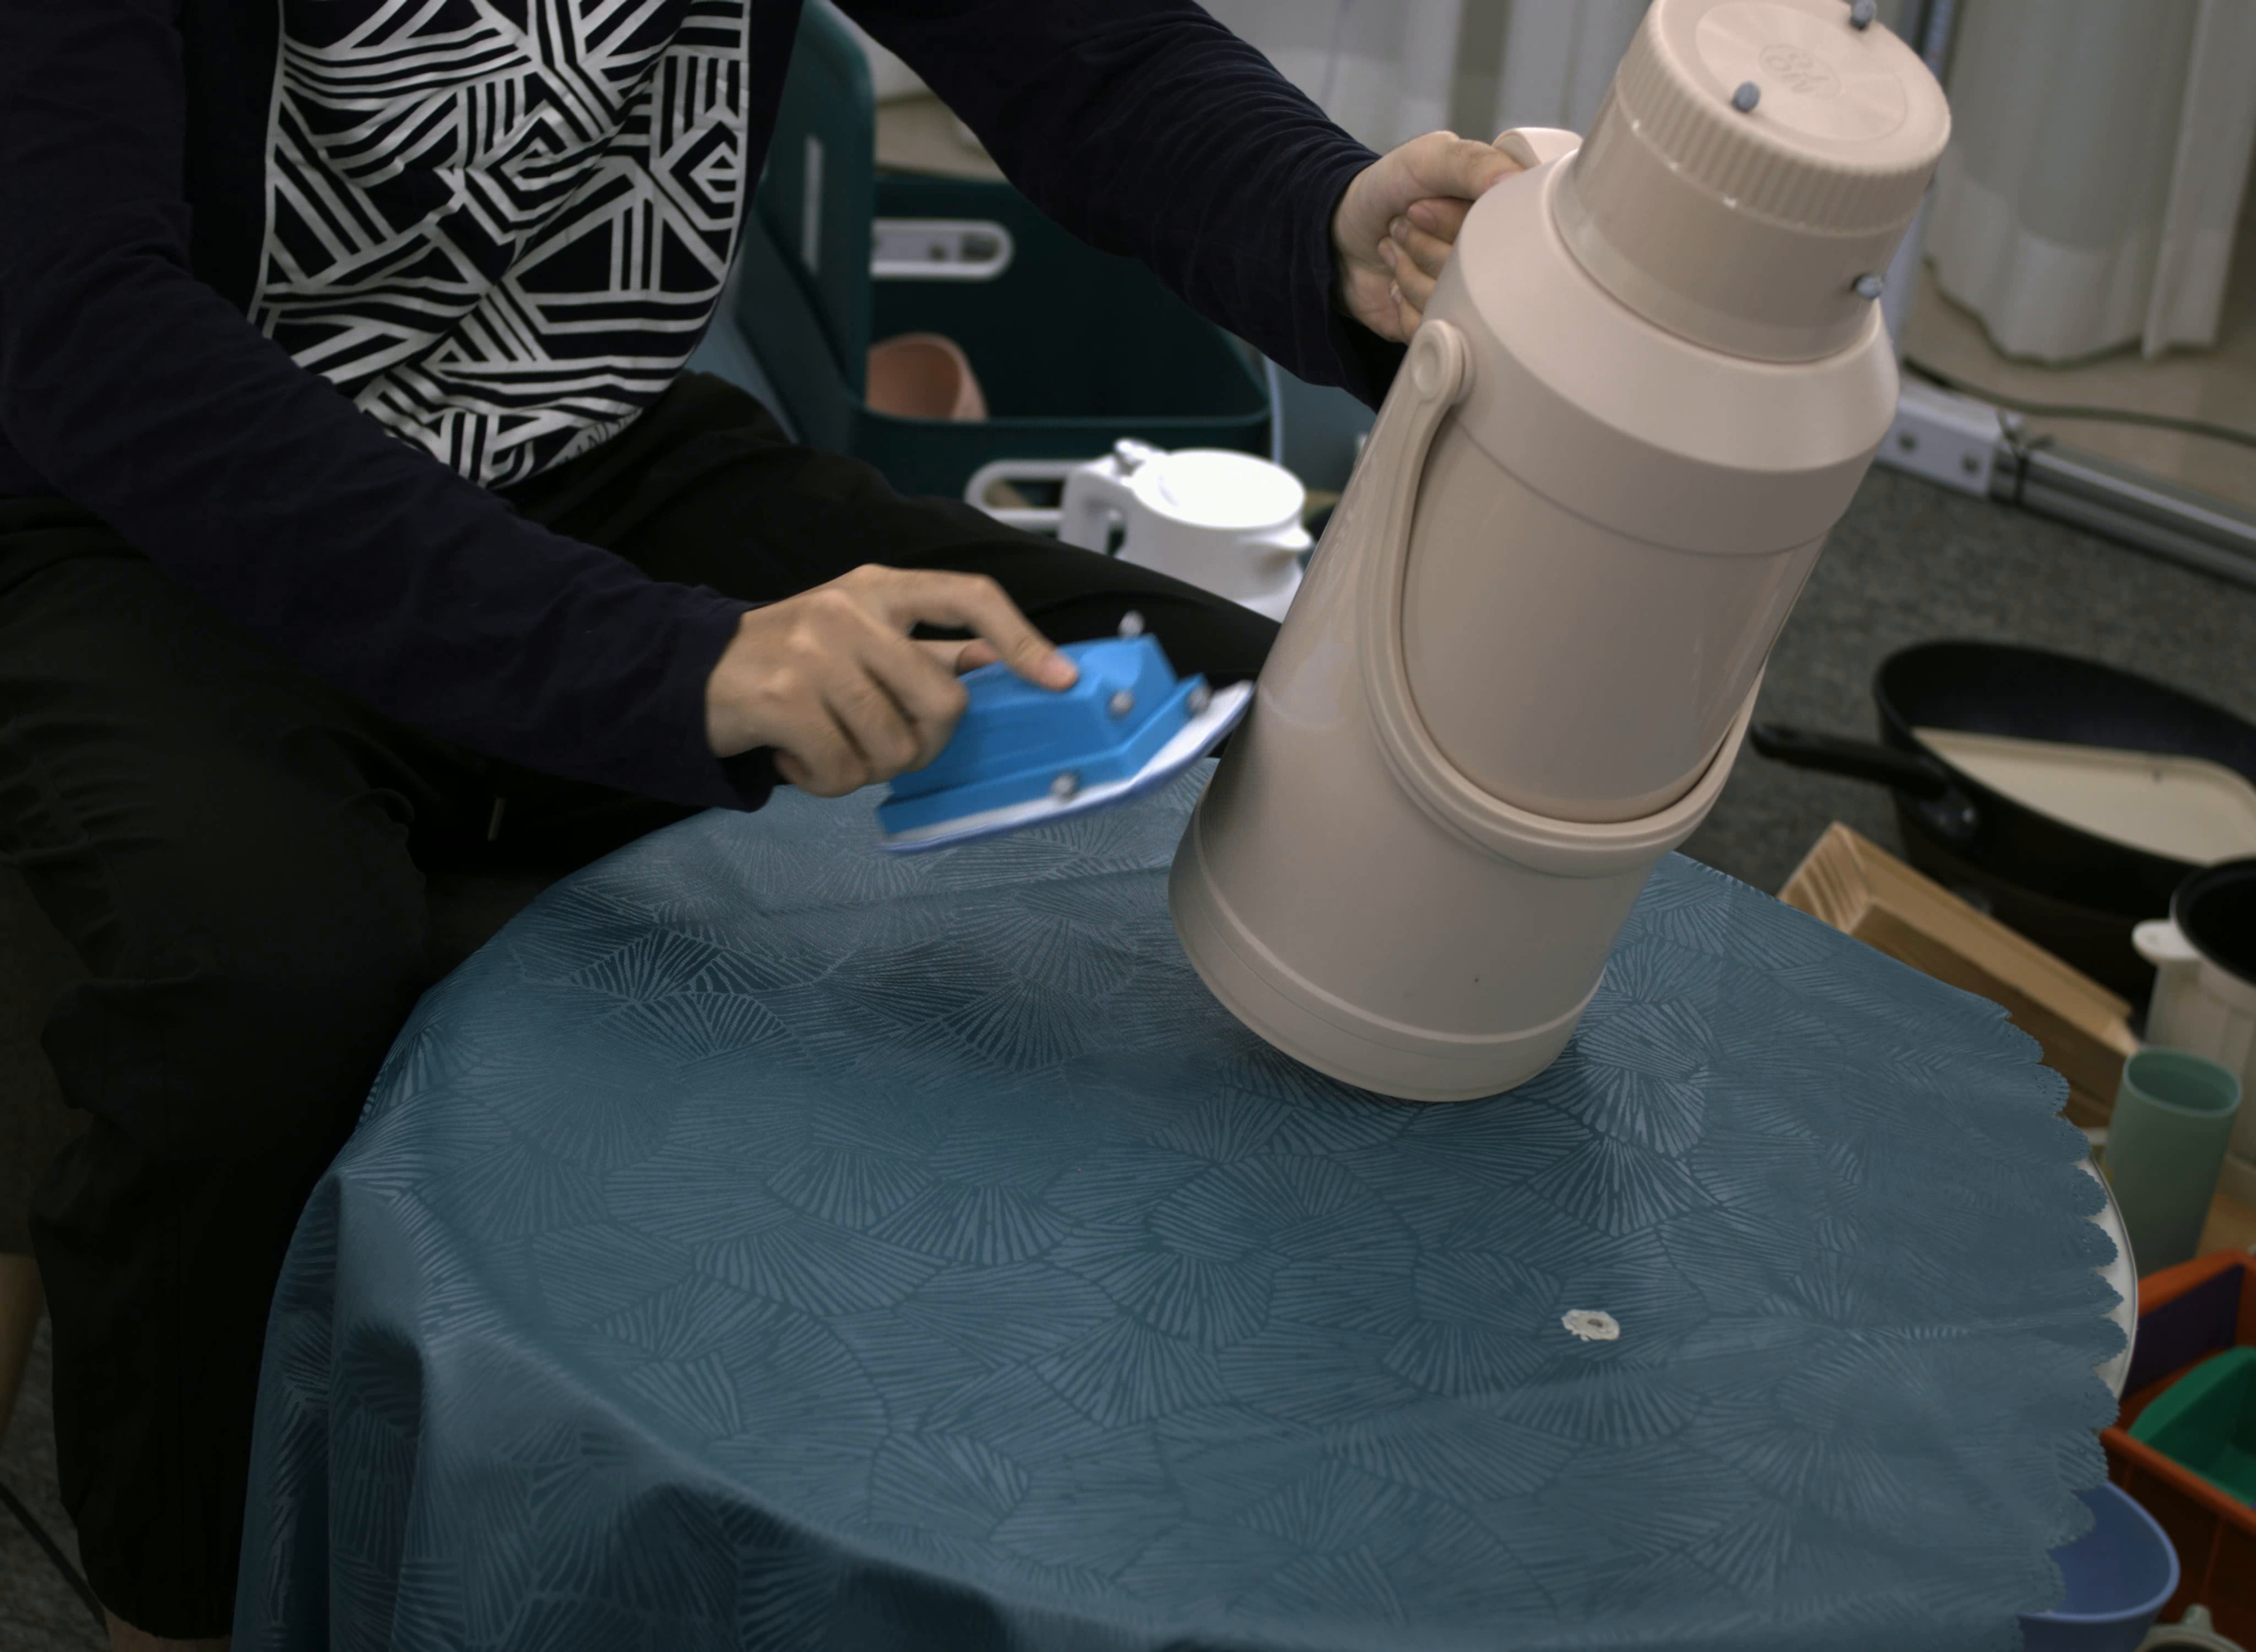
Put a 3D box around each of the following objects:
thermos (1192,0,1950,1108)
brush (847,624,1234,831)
[{"bbox_3d":[0.150,-0.108,1.820,0.174,0.405,0.209,-3,44,-27],"label":"thermos"},{"bbox_3d":[-0.036,-0.039,1.882,0.144,0.056,0.084,-11,20,42],"label":"brush"}]
